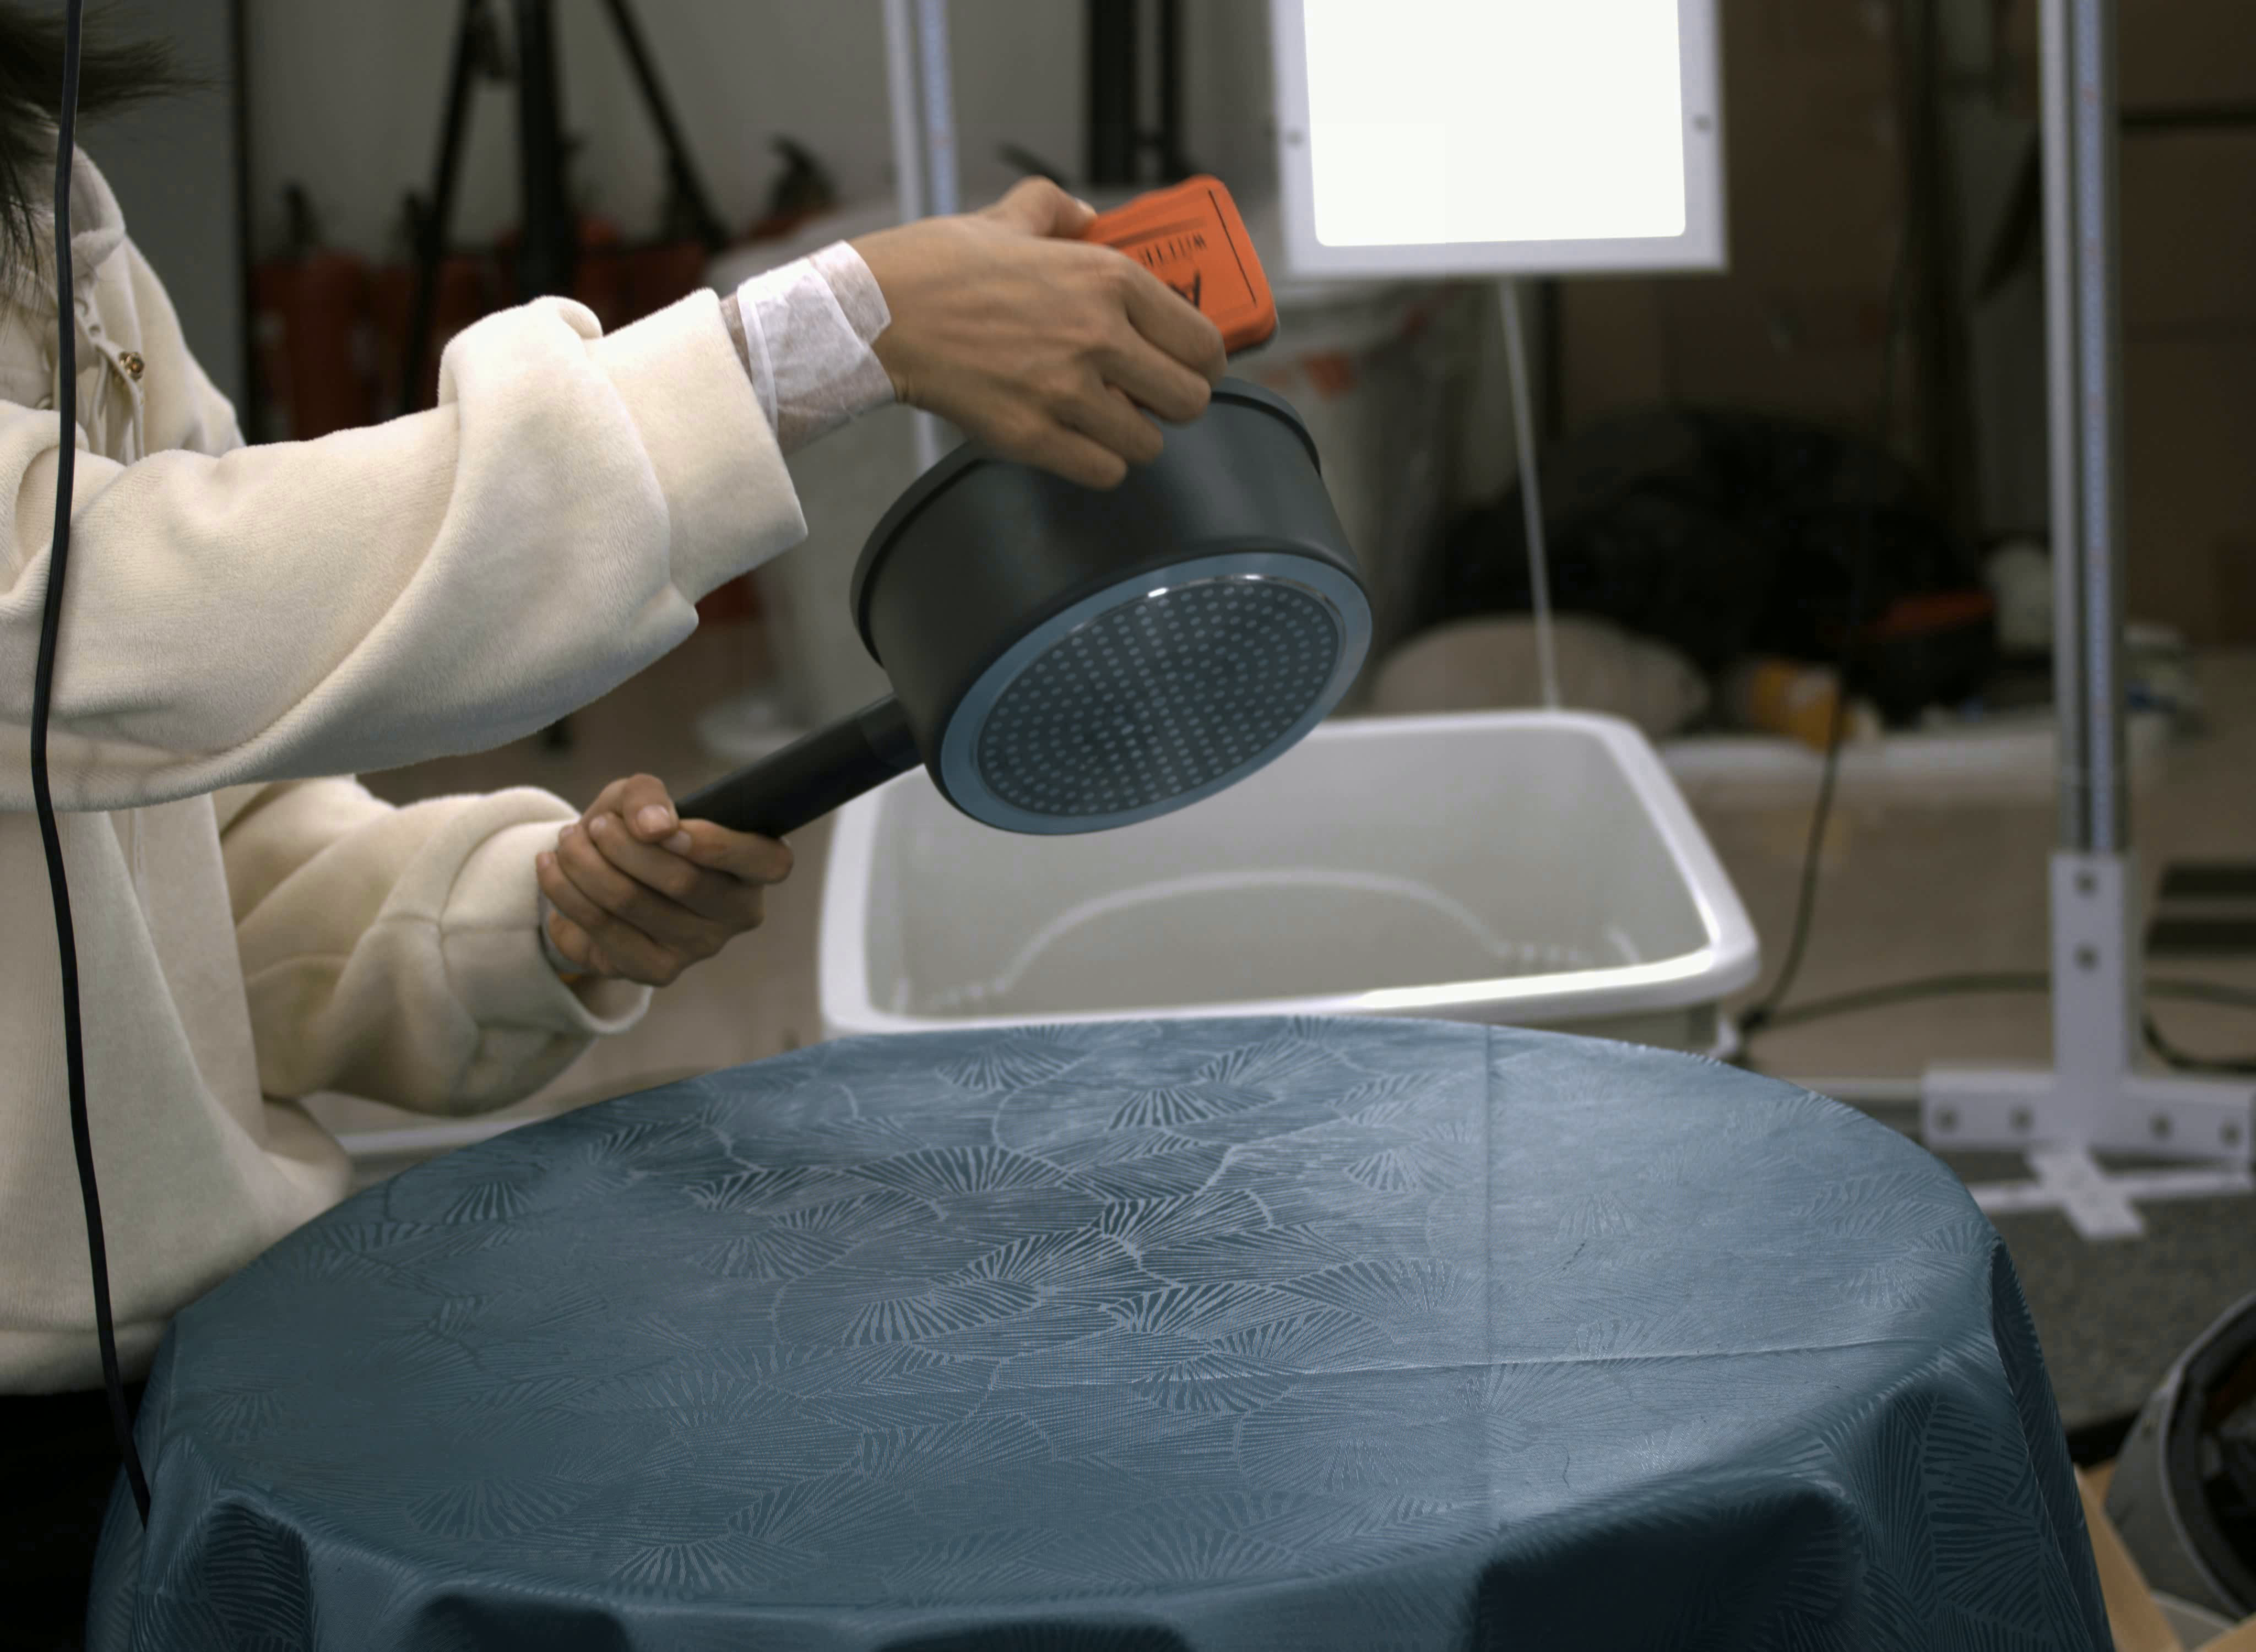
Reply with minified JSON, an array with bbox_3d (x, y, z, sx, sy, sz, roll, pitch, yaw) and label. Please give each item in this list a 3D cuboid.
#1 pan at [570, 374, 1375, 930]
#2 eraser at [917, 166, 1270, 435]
[{"bbox_3d":[-0.063,-0.032,1.921,0.334,0.087,0.168,-35,-32,25],"label":"pan"},{"bbox_3d":[-0.011,-0.172,1.797,0.108,0.059,0.023,-21,-17,3],"label":"eraser"}]
